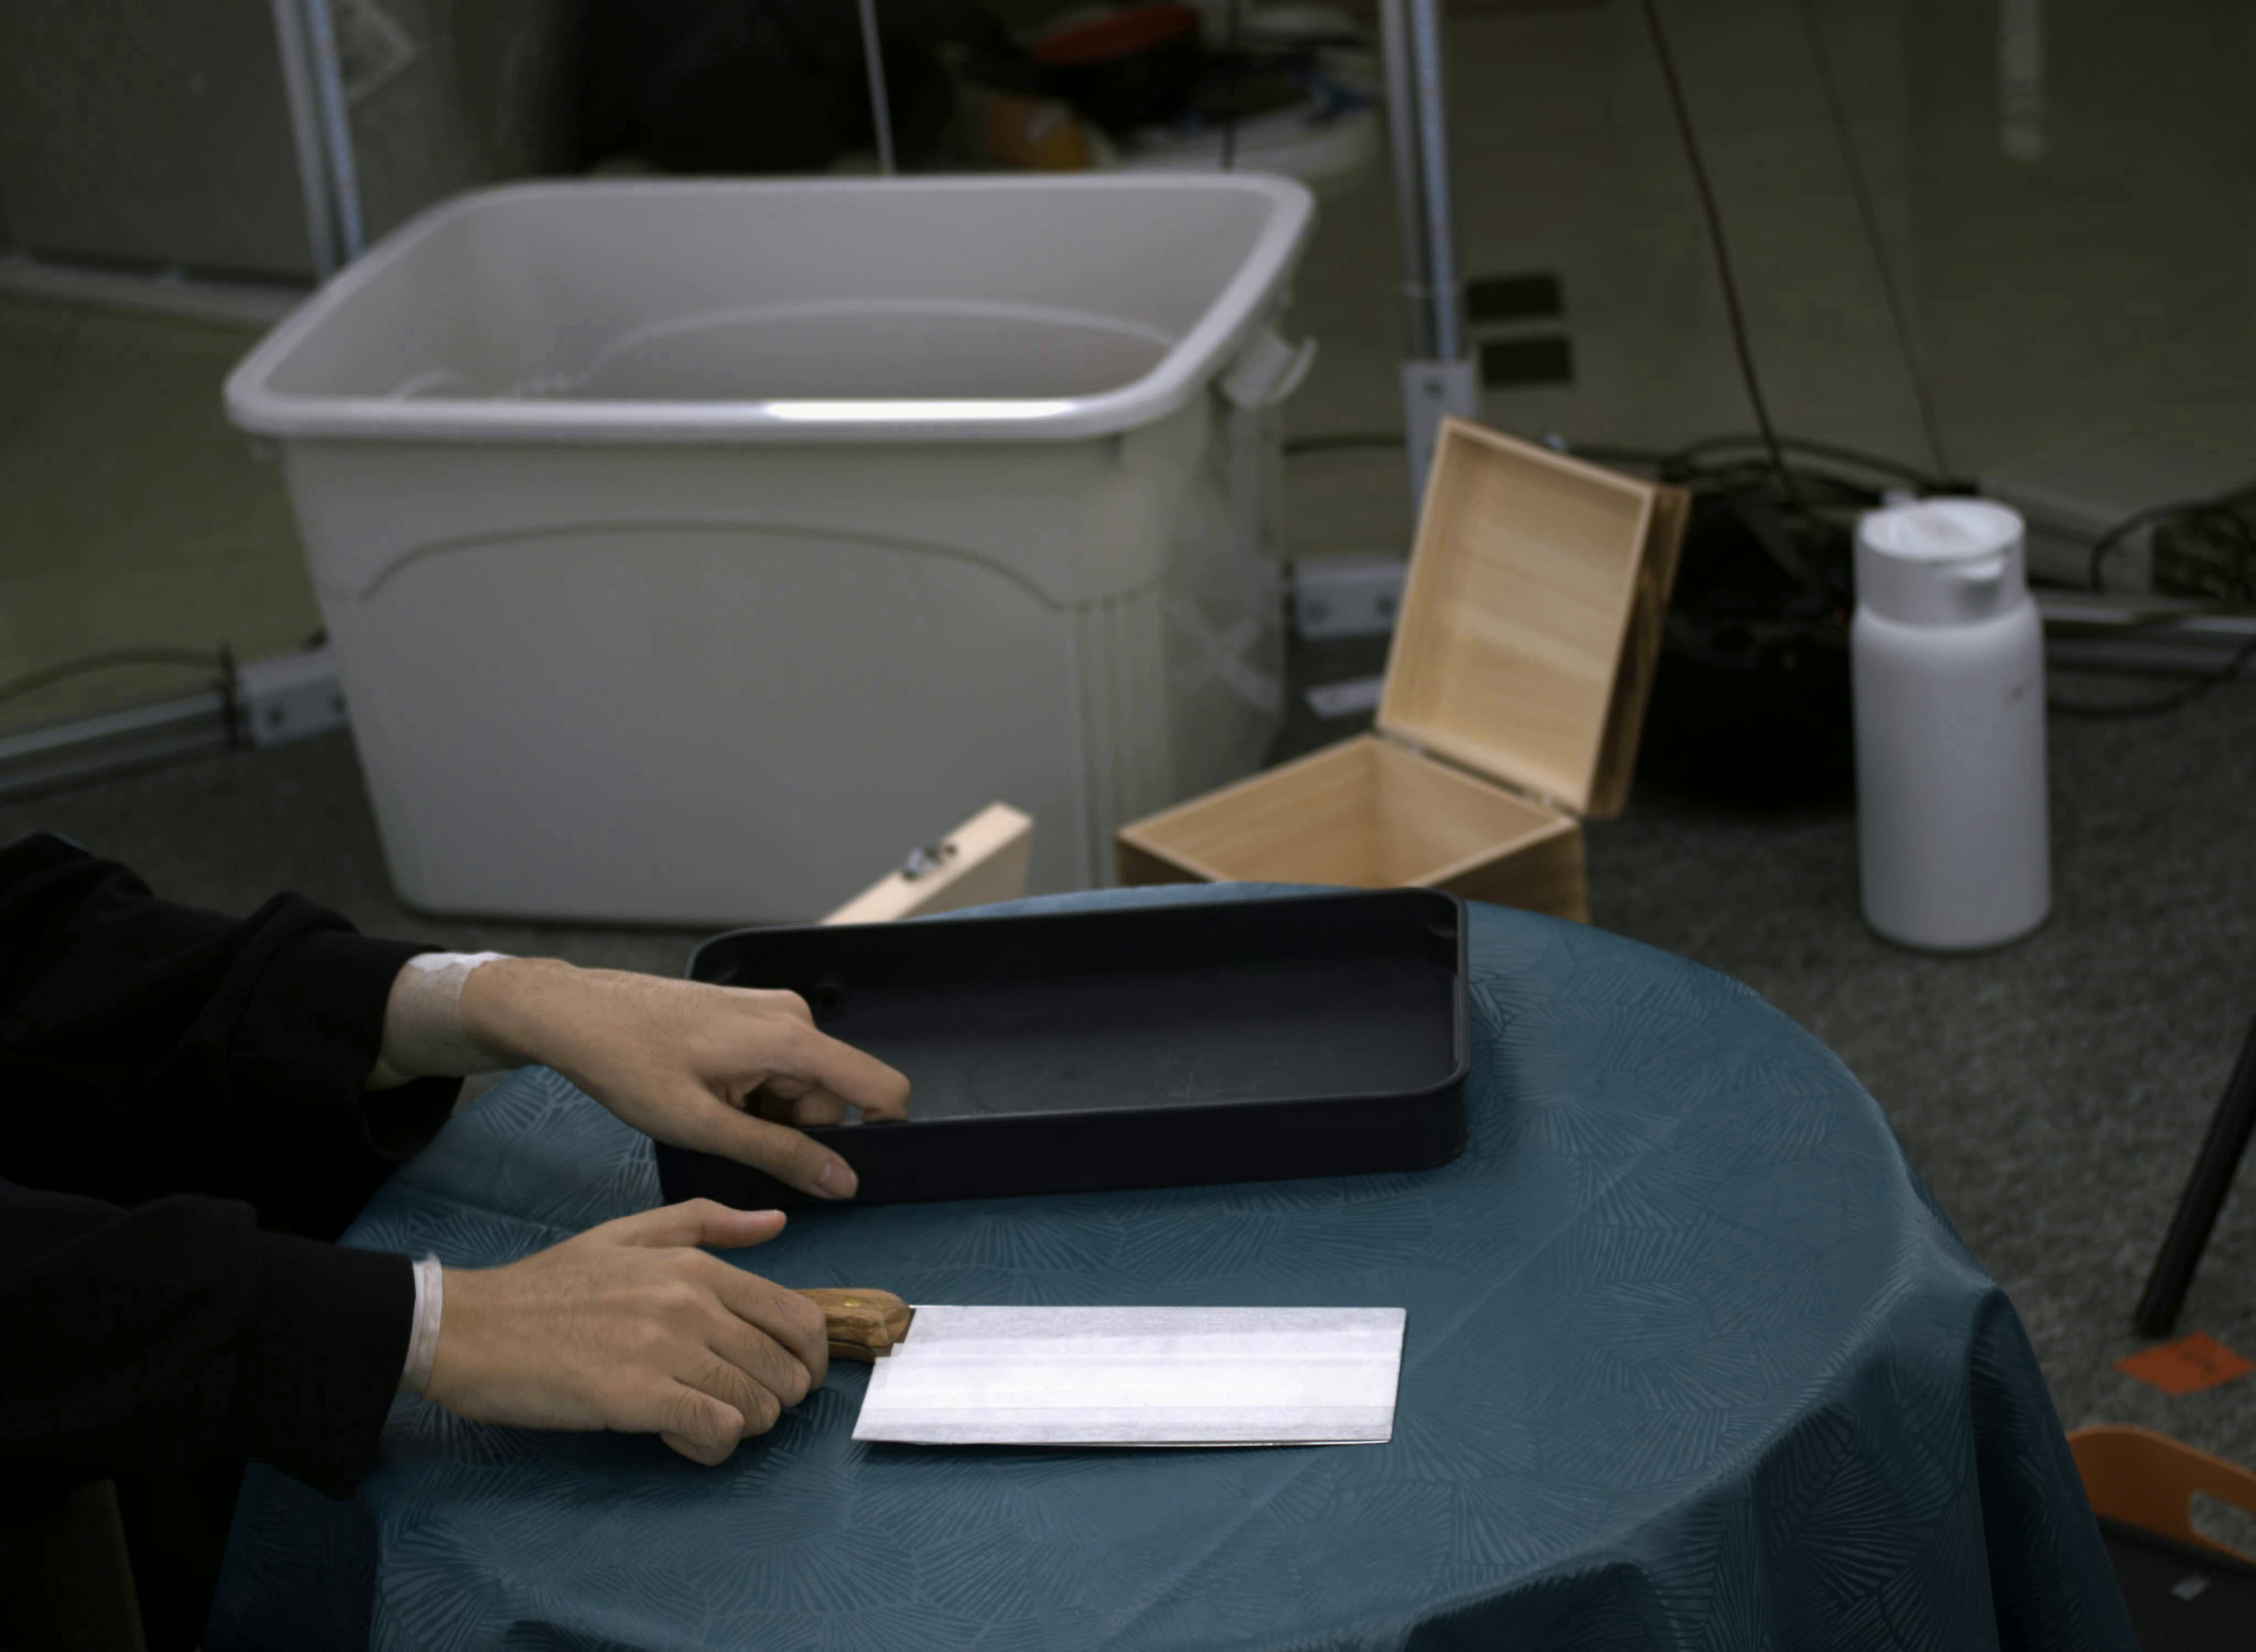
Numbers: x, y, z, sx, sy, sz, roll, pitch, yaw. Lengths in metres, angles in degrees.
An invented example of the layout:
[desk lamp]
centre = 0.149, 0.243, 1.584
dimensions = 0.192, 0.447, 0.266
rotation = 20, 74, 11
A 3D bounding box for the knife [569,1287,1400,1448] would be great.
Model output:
[knife]
centre = -0.055, 0.194, 2.024
dimensions = 0.305, 0.021, 0.091
rotation = -1, 27, 7

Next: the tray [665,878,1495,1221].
[tray]
centre = -0.016, 0.086, 2.220
dimensions = 0.317, 0.037, 0.181
rotation = -5, 25, 3
